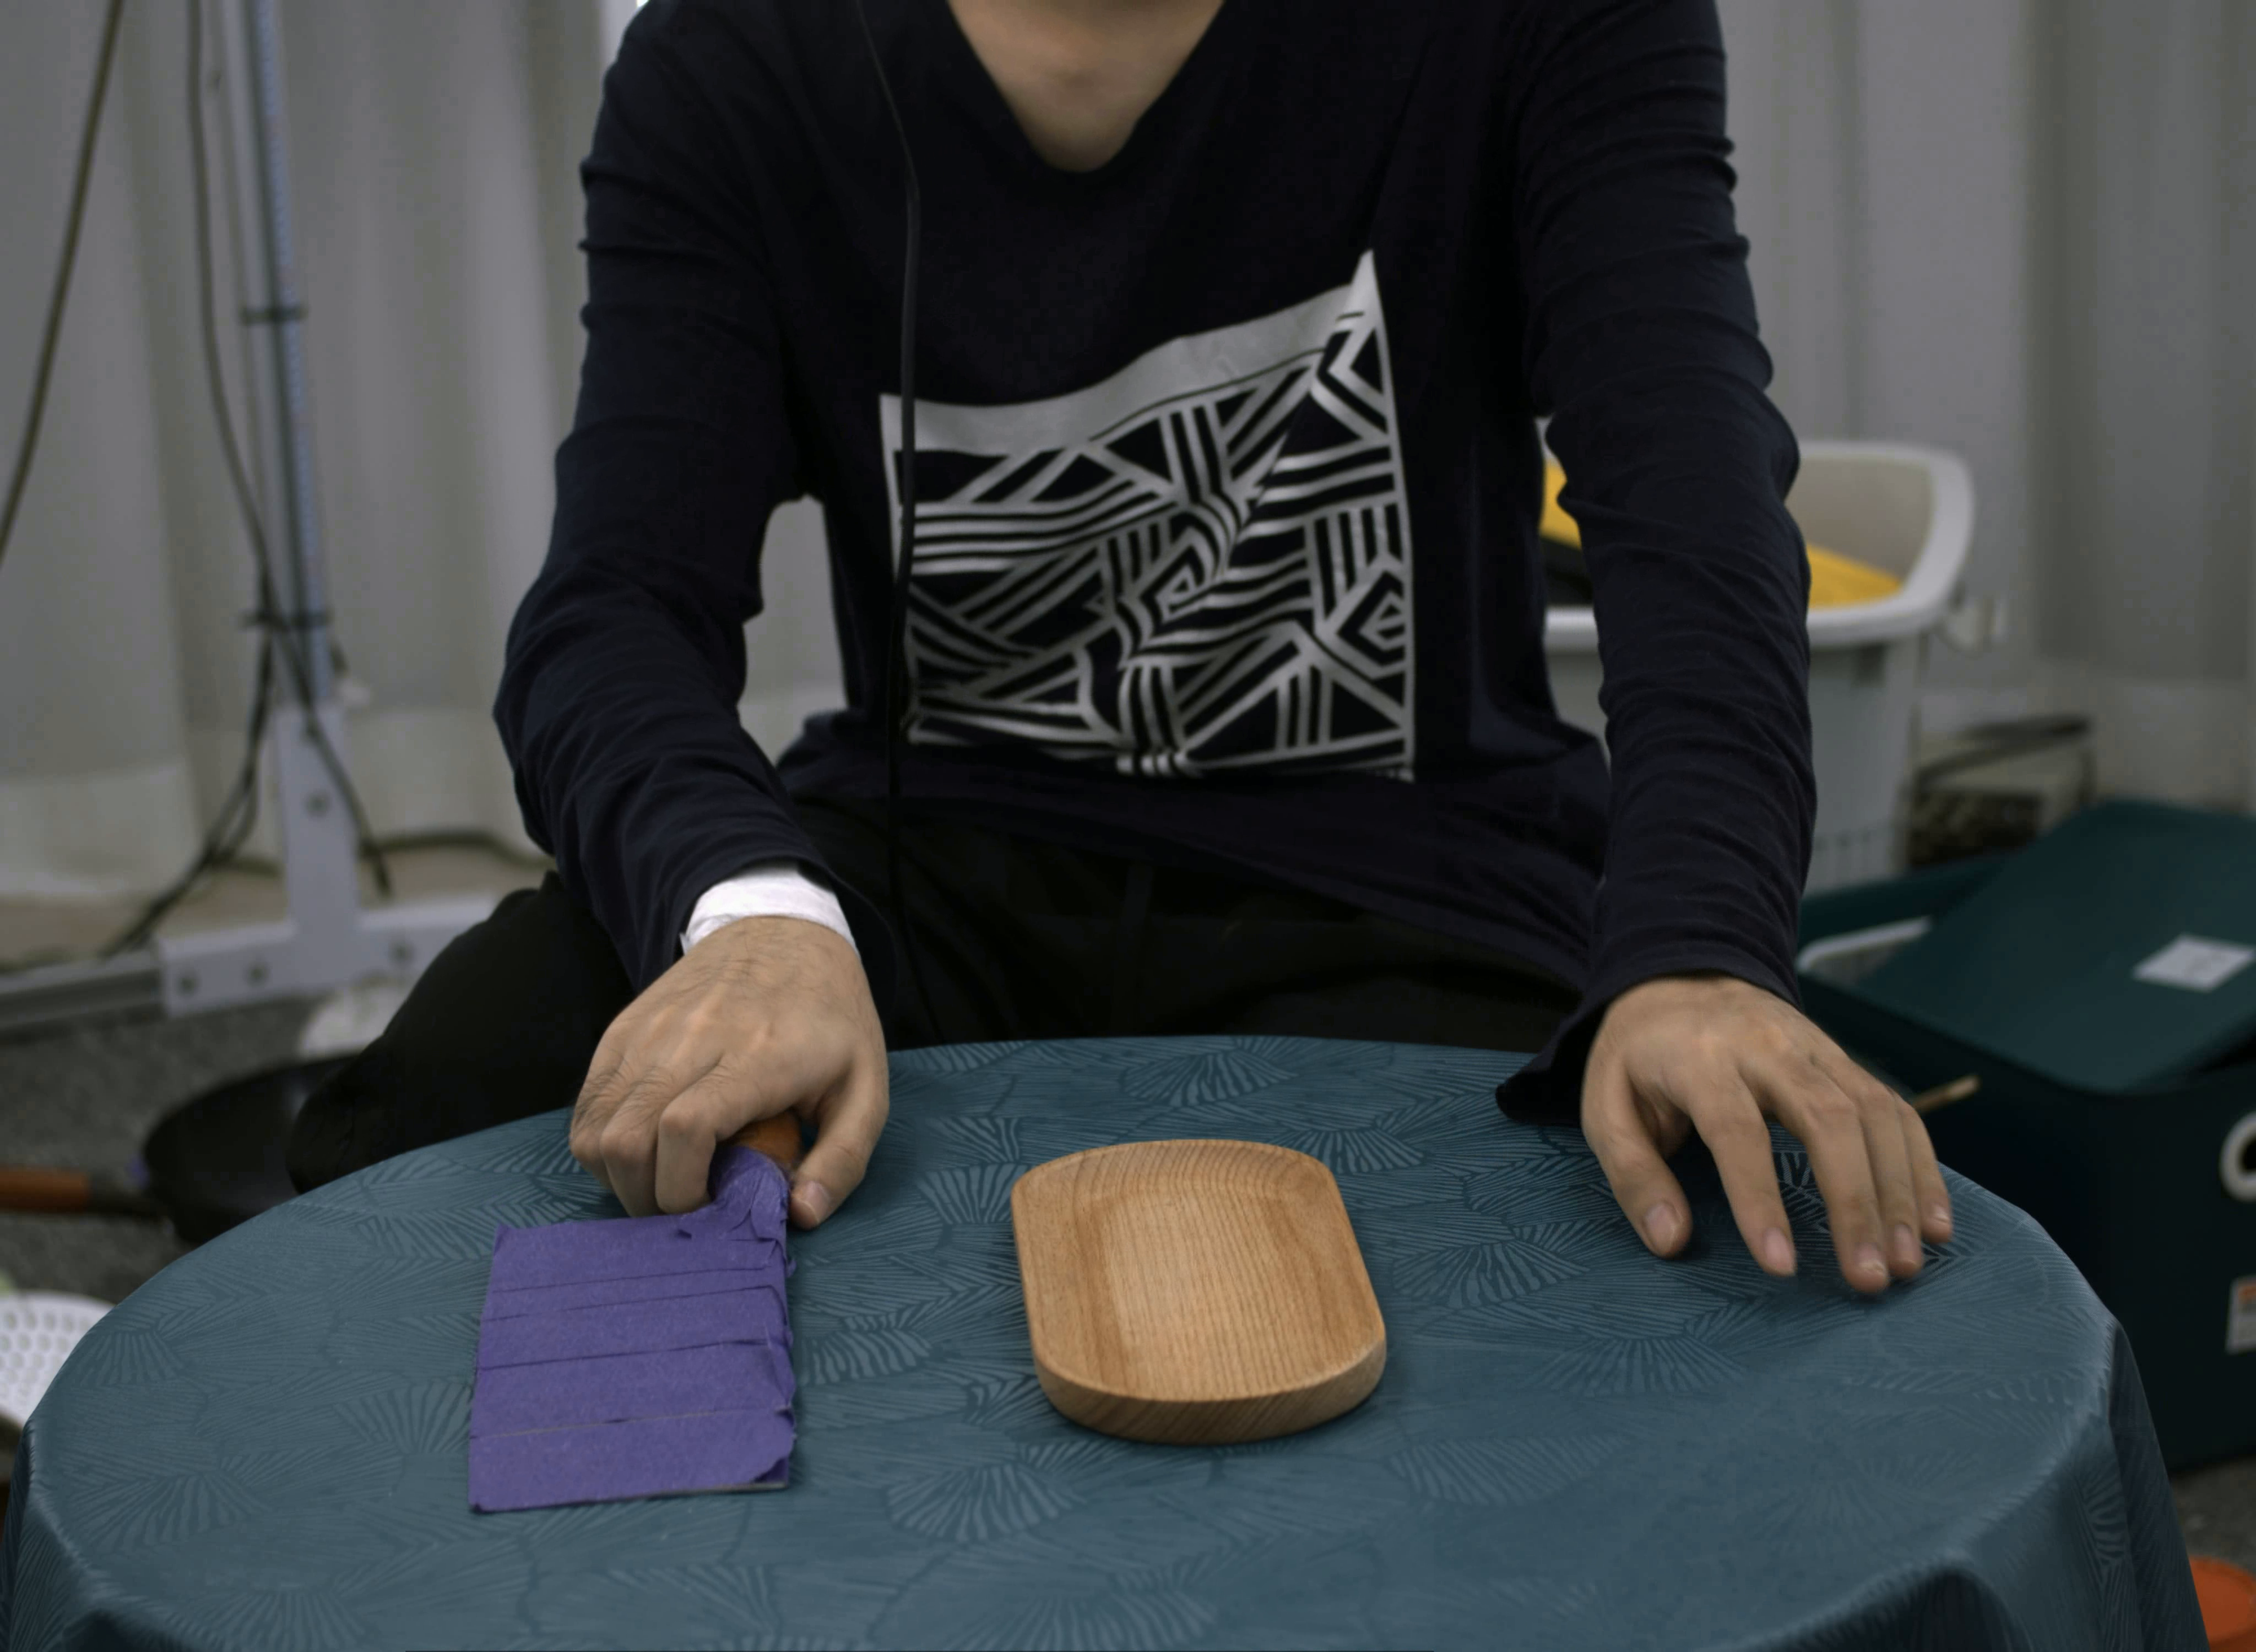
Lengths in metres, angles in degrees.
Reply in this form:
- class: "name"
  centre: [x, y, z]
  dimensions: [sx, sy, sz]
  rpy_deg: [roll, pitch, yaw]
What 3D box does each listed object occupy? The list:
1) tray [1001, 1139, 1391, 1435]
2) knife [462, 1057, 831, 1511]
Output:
- class: "tray"
  centre: [0.018, 0.134, 1.612]
  dimensions: [0.101, 0.020, 0.232]
  rpy_deg: [-3, 13, -5]
- class: "knife"
  centre: [-0.144, 0.132, 1.626]
  dimensions: [0.103, 0.032, 0.317]
  rpy_deg: [-4, 15, -4]
